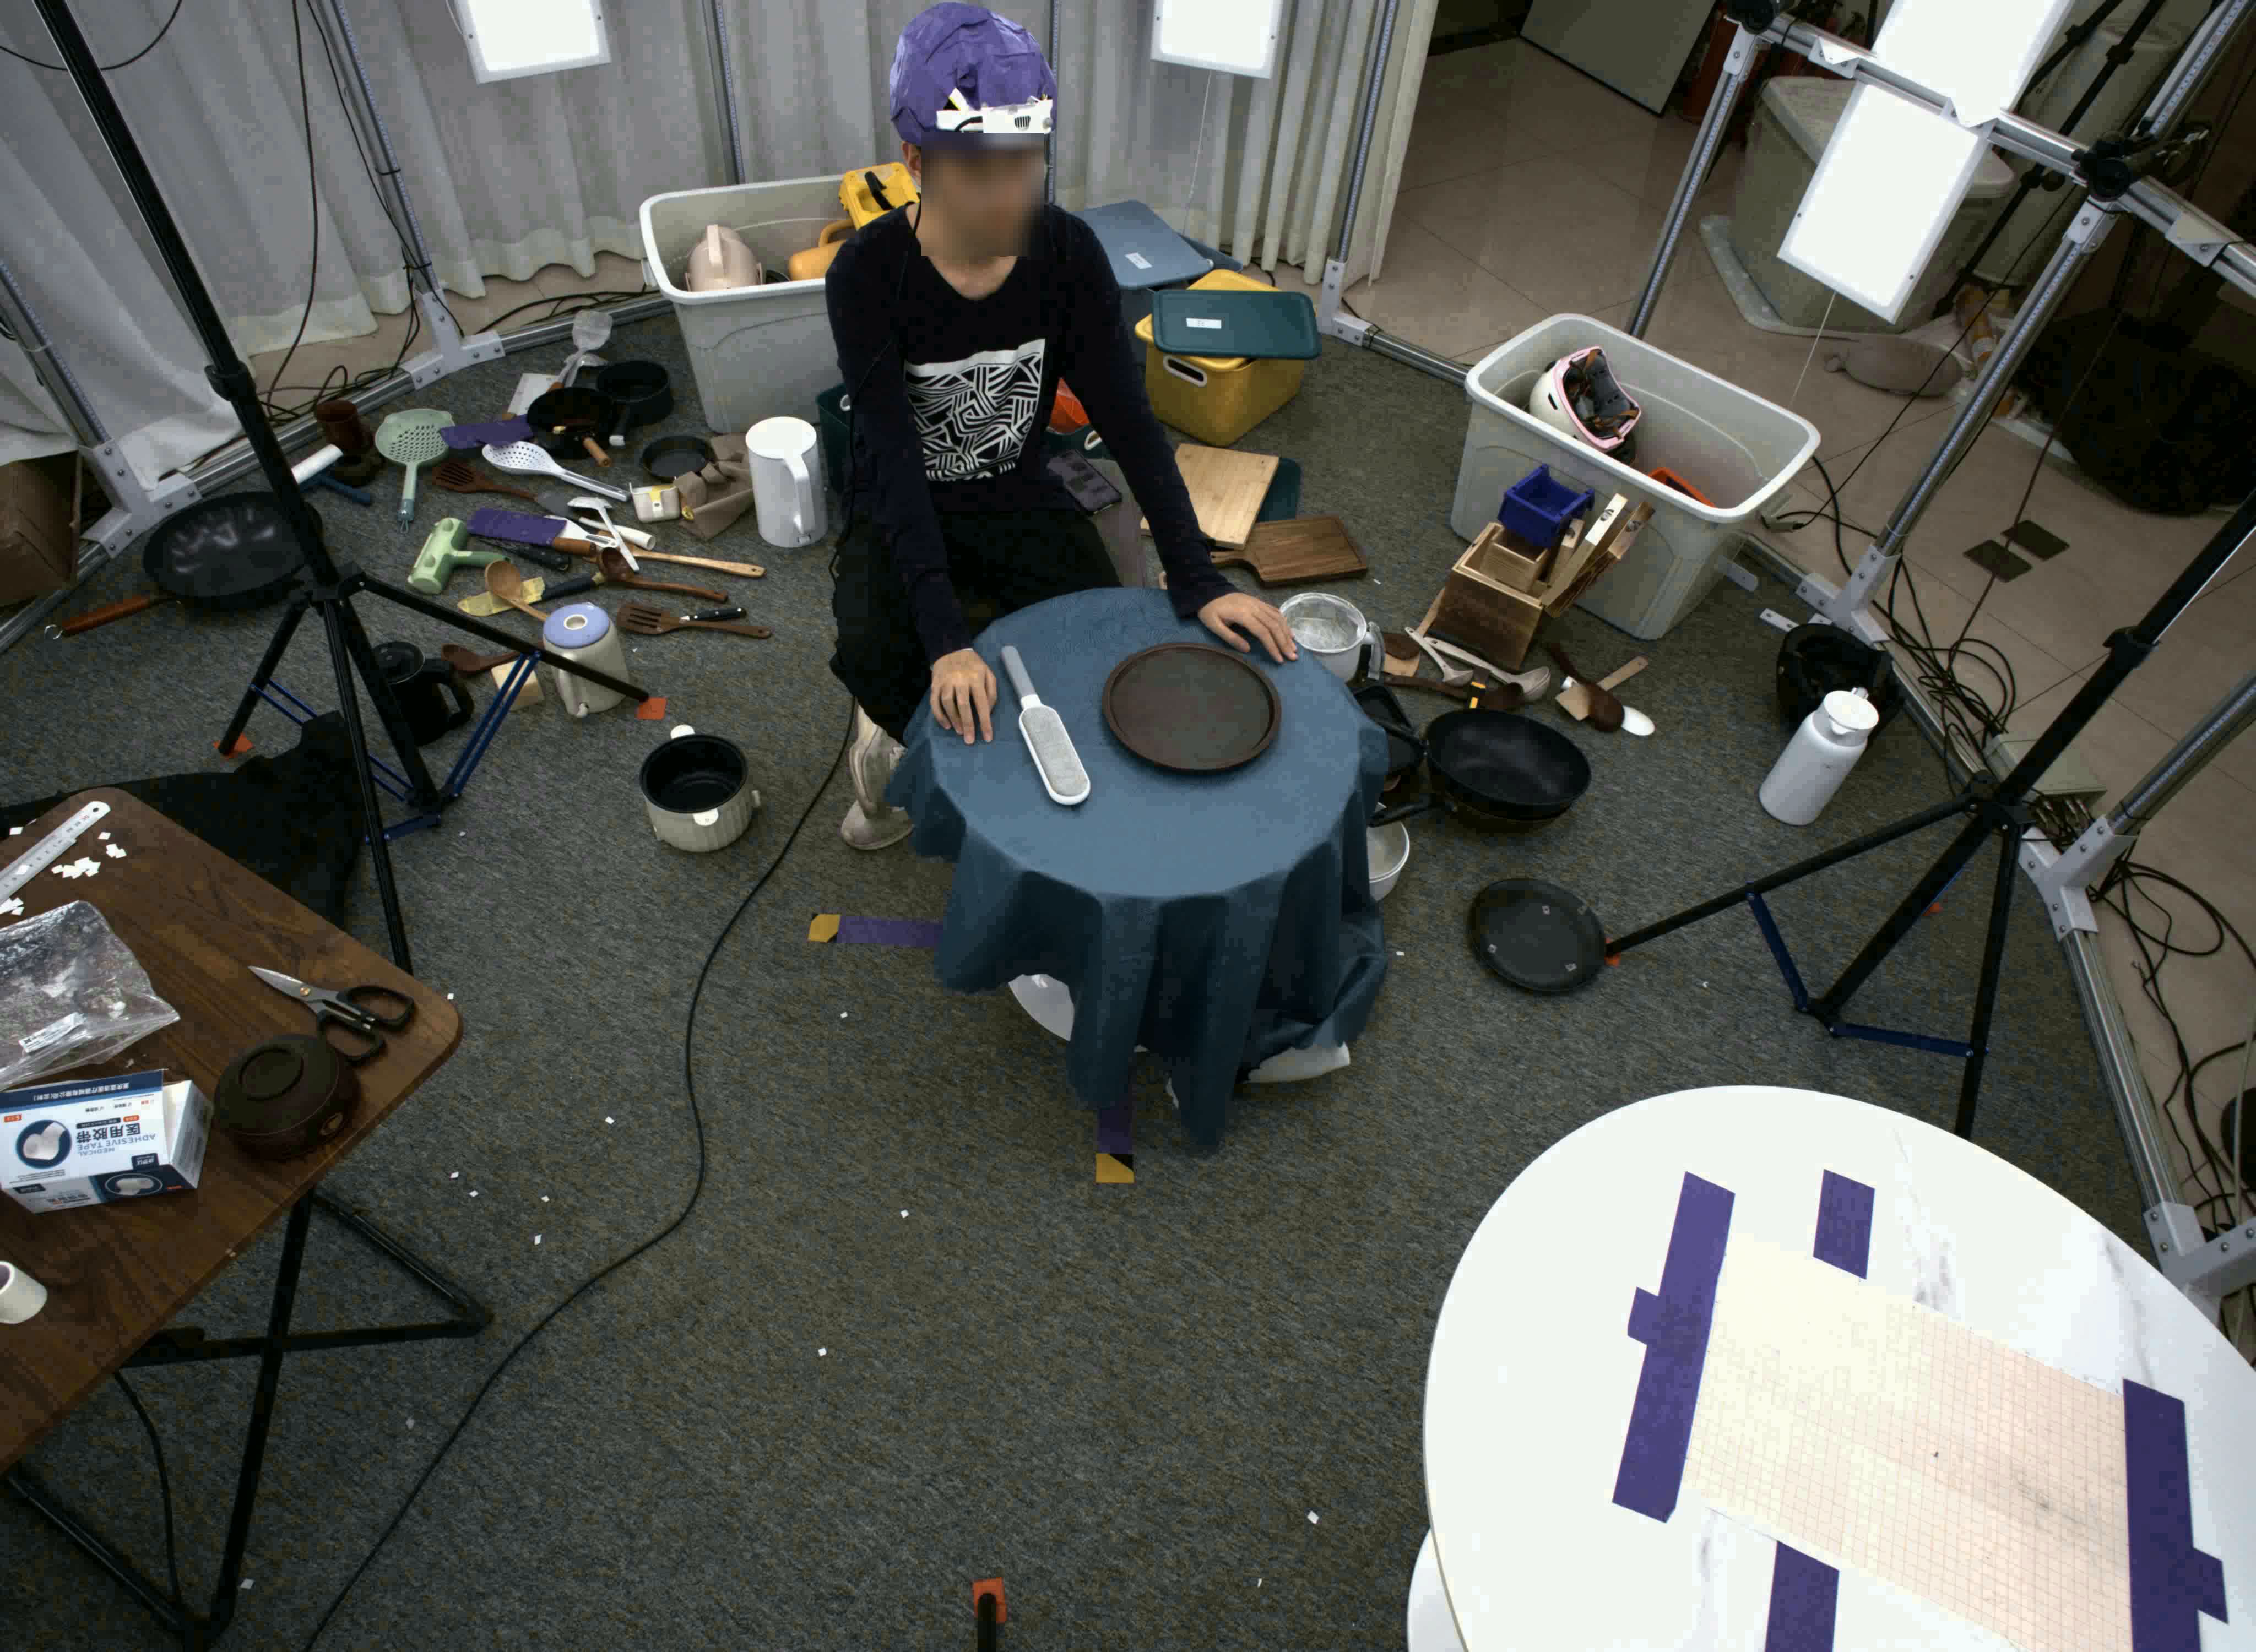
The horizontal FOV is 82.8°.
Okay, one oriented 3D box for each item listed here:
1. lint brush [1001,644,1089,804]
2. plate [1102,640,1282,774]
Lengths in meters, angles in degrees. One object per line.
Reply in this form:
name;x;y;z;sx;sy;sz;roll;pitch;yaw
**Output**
lint brush;-0.121;-0.147;1.769;0.060;0.020;0.316;-16;52;-11
plate;0.090;-0.169;1.803;0.254;0.028;0.261;3;49;-4
